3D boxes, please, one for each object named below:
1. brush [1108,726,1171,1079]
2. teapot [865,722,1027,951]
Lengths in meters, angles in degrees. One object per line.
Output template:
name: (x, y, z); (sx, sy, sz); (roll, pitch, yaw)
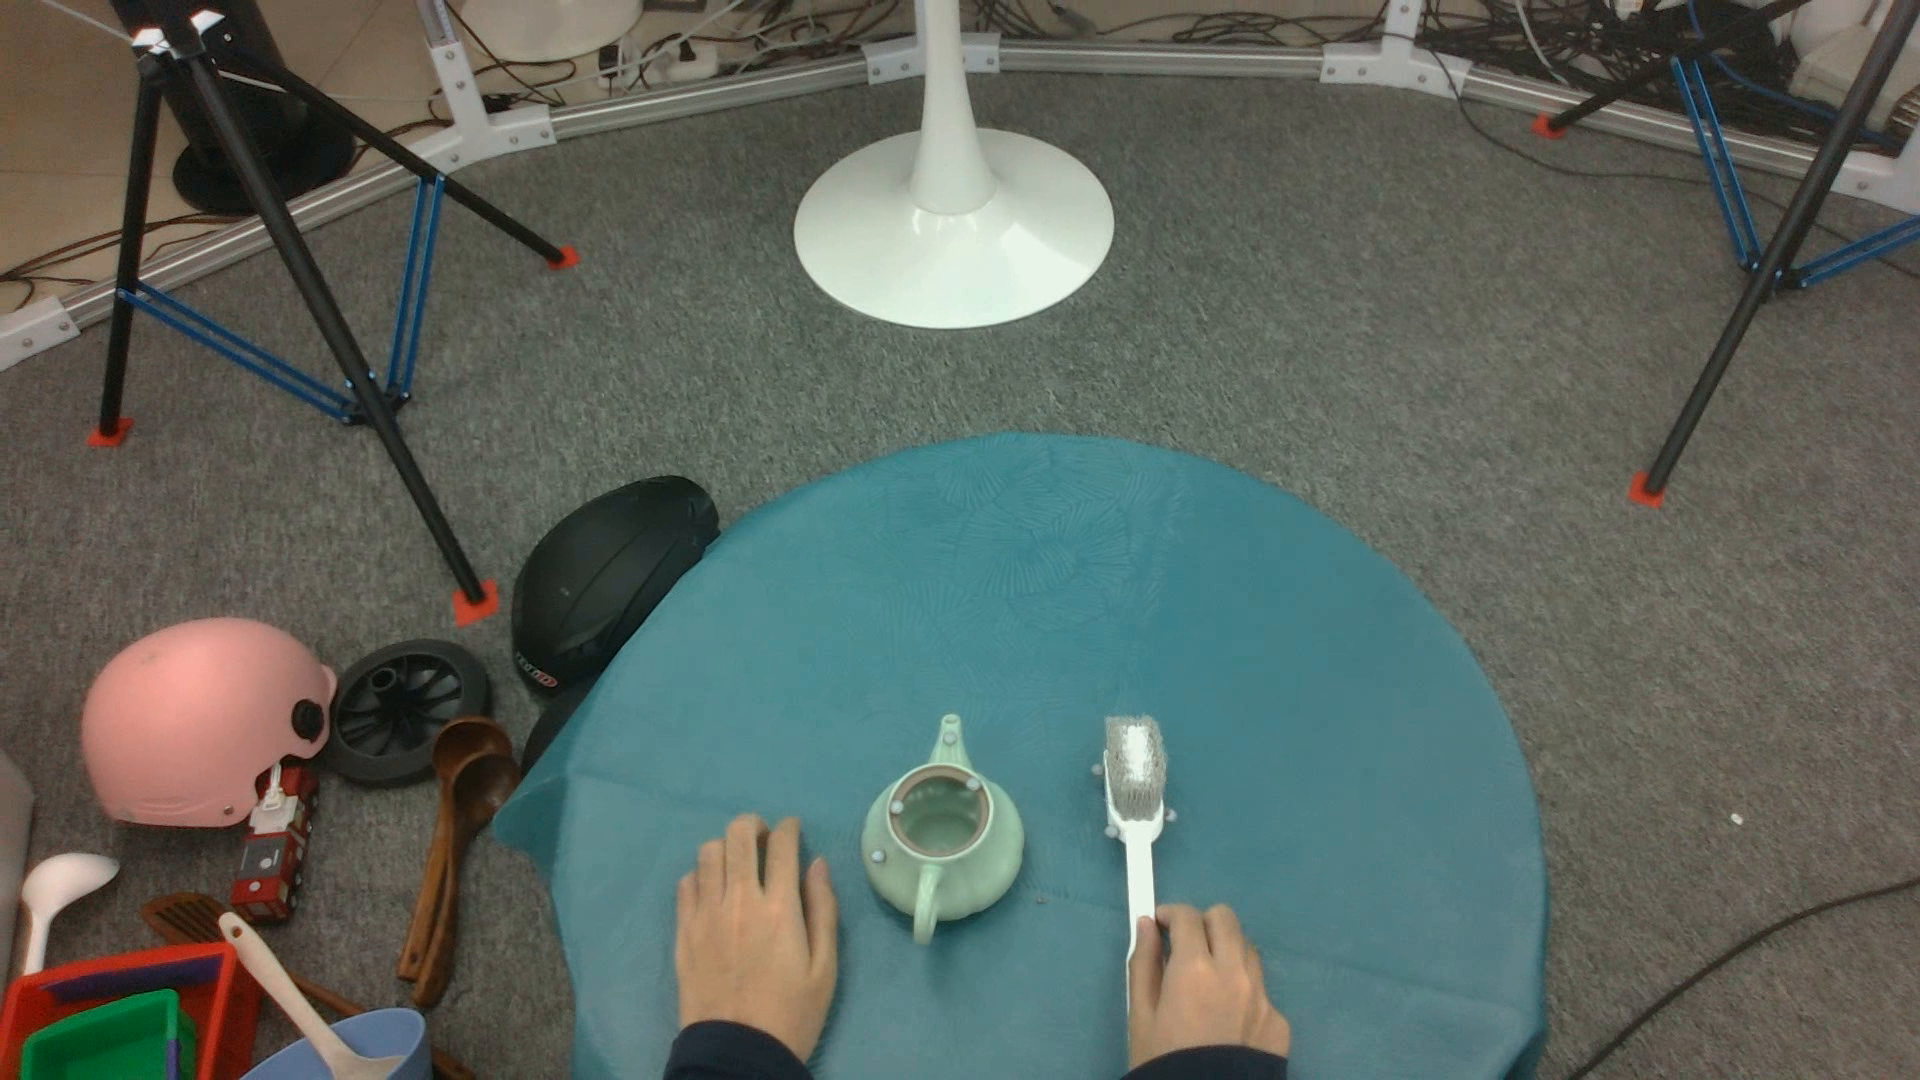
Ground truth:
brush: (0.102, 0.214, 0.785); (0.034, 0.050, 0.245); (6, 50, 1)
teapot: (-0.009, 0.180, 0.810); (0.096, 0.061, 0.137); (4, 49, 2)
